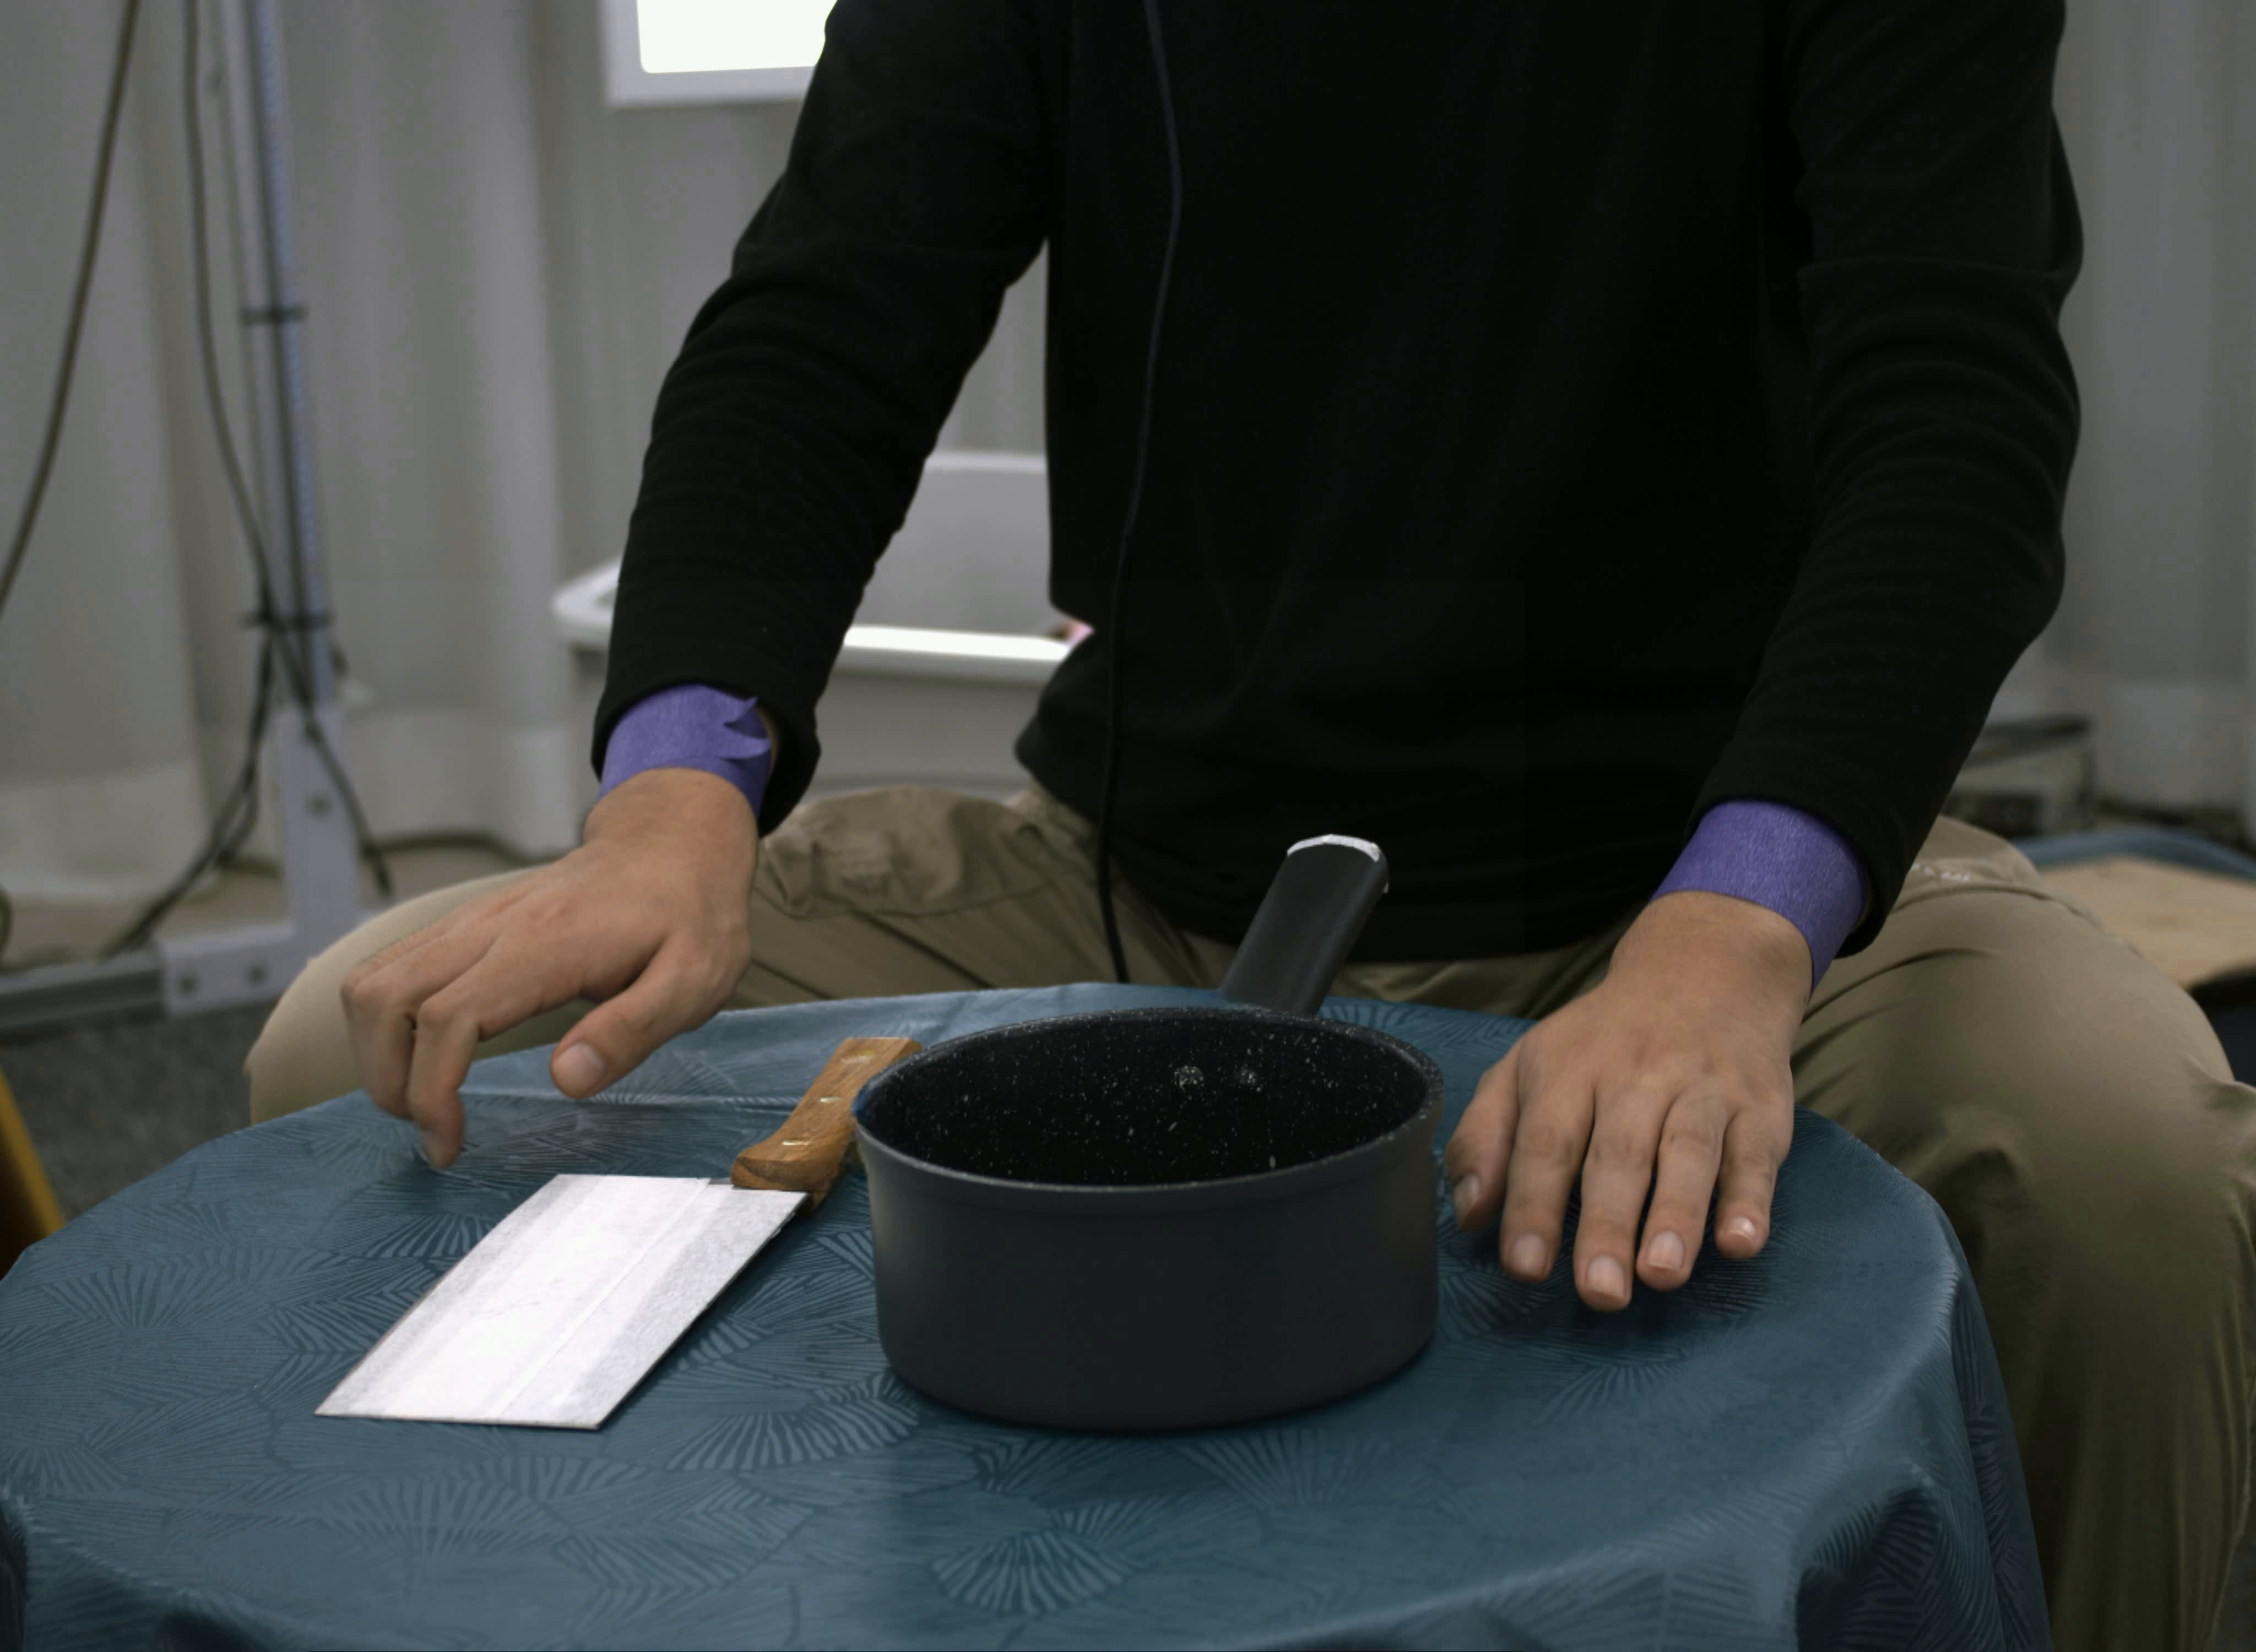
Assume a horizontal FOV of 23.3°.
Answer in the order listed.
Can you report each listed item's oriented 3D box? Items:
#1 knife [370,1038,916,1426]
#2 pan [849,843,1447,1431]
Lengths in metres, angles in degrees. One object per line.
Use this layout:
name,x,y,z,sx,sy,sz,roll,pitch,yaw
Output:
knife,-0.147,0.123,1.683,0.093,0.021,0.307,0,17,17
pan,0.031,0.090,1.646,0.172,0.086,0.330,2,16,18
